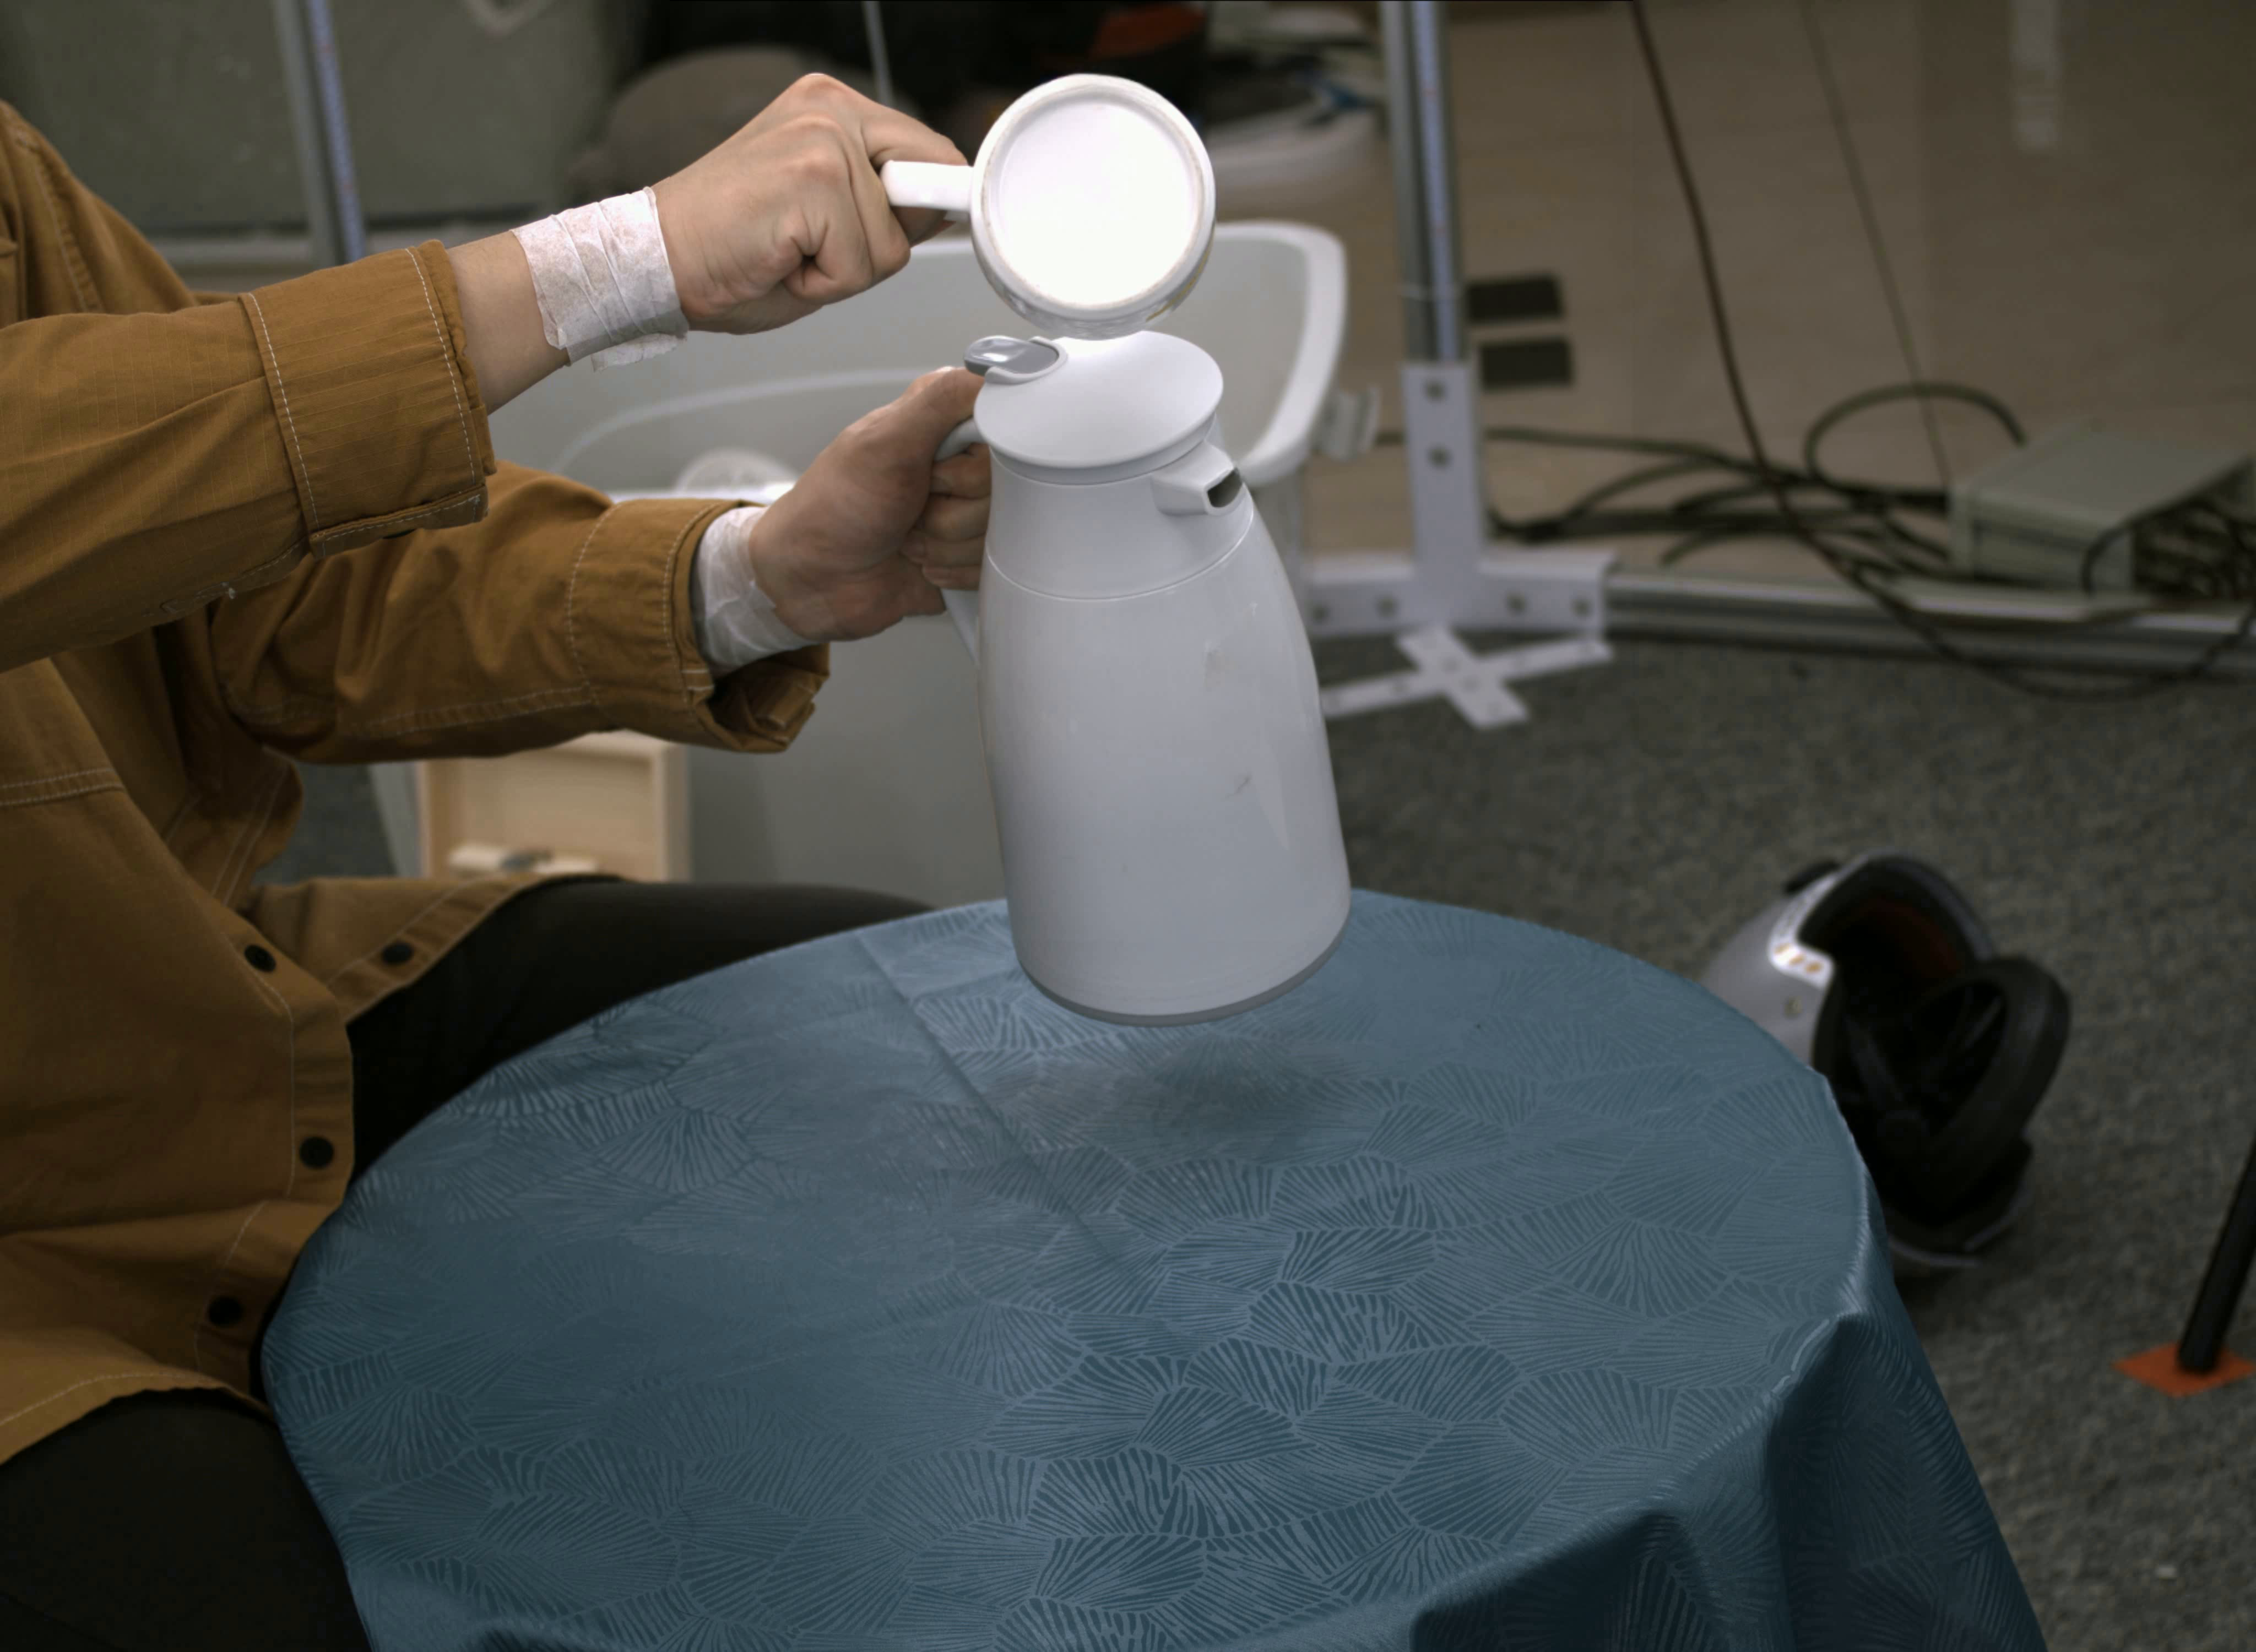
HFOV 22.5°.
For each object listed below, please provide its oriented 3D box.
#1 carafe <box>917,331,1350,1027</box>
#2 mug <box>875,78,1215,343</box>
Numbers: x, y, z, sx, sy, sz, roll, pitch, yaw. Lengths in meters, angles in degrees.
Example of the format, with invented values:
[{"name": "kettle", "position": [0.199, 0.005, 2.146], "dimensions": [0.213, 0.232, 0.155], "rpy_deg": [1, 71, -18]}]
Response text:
[{"name": "carafe", "position": [-0.010, -0.067, 2.120], "dimensions": [0.166, 0.253, 0.131], "rpy_deg": [25, 49, 38]}, {"name": "mug", "position": [-0.029, -0.214, 1.942], "dimensions": [0.118, 0.085, 0.102], "rpy_deg": [8, 3, -1]}]
